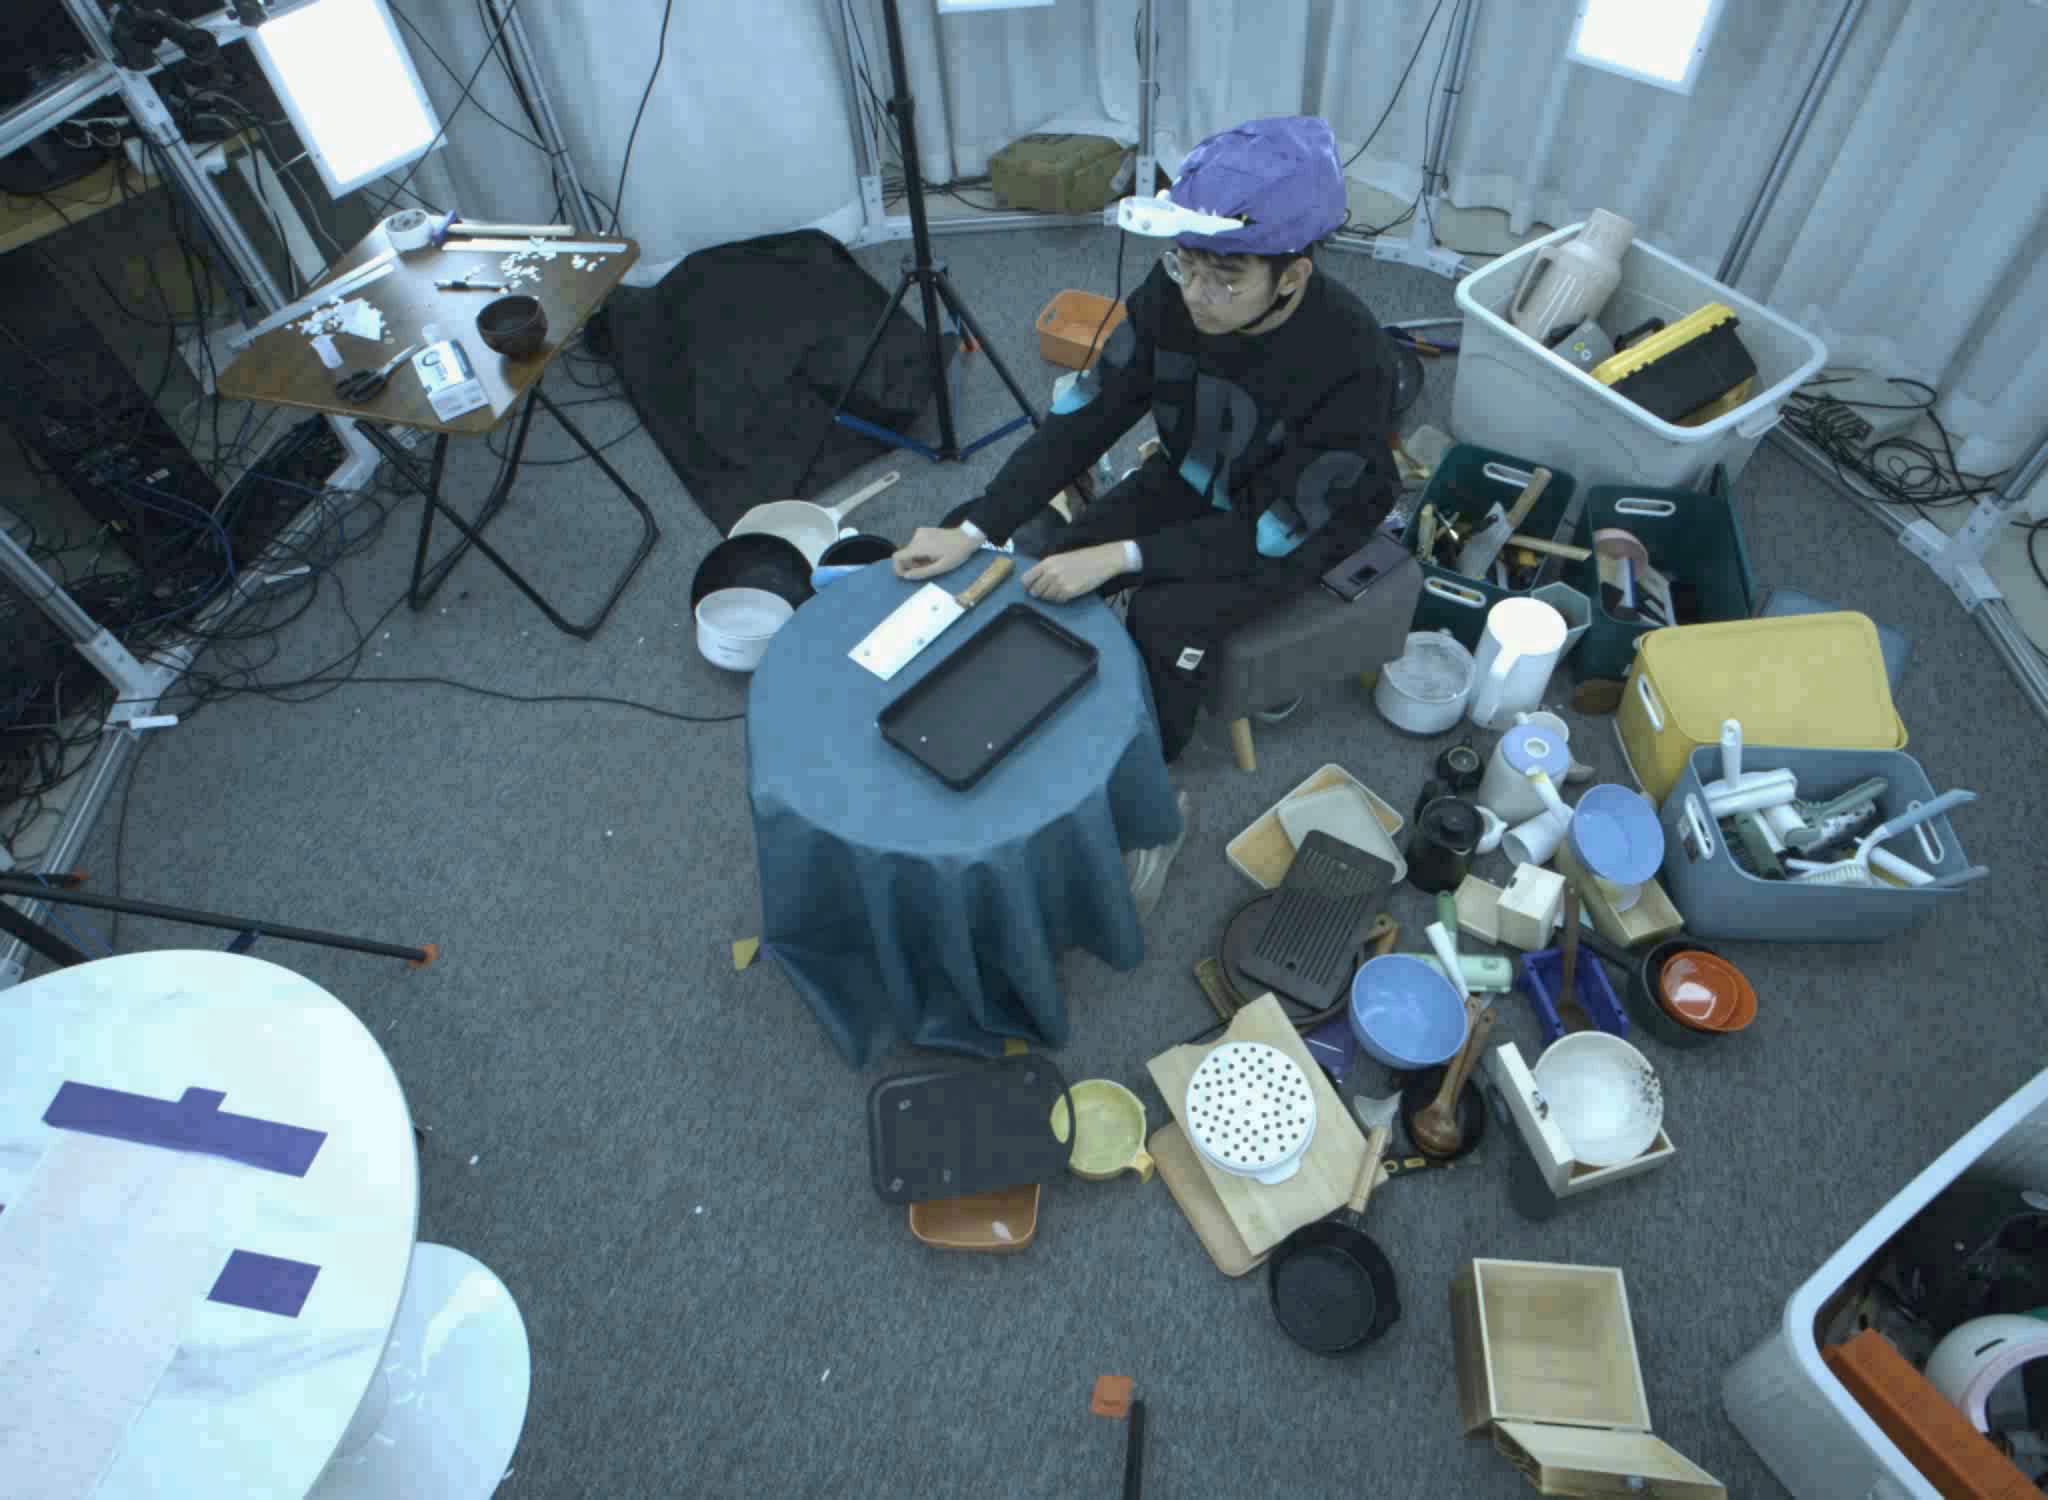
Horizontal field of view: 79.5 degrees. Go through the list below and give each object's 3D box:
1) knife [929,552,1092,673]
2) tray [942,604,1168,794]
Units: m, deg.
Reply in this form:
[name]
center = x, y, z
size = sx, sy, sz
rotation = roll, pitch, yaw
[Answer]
[knife]
center = -0.025, -0.230, 1.942
size = 0.307, 0.021, 0.091
rotation = -41, 61, -21
[tray]
center = 0.048, -0.081, 1.820
size = 0.181, 0.037, 0.320
rotation = 38, 64, 25
